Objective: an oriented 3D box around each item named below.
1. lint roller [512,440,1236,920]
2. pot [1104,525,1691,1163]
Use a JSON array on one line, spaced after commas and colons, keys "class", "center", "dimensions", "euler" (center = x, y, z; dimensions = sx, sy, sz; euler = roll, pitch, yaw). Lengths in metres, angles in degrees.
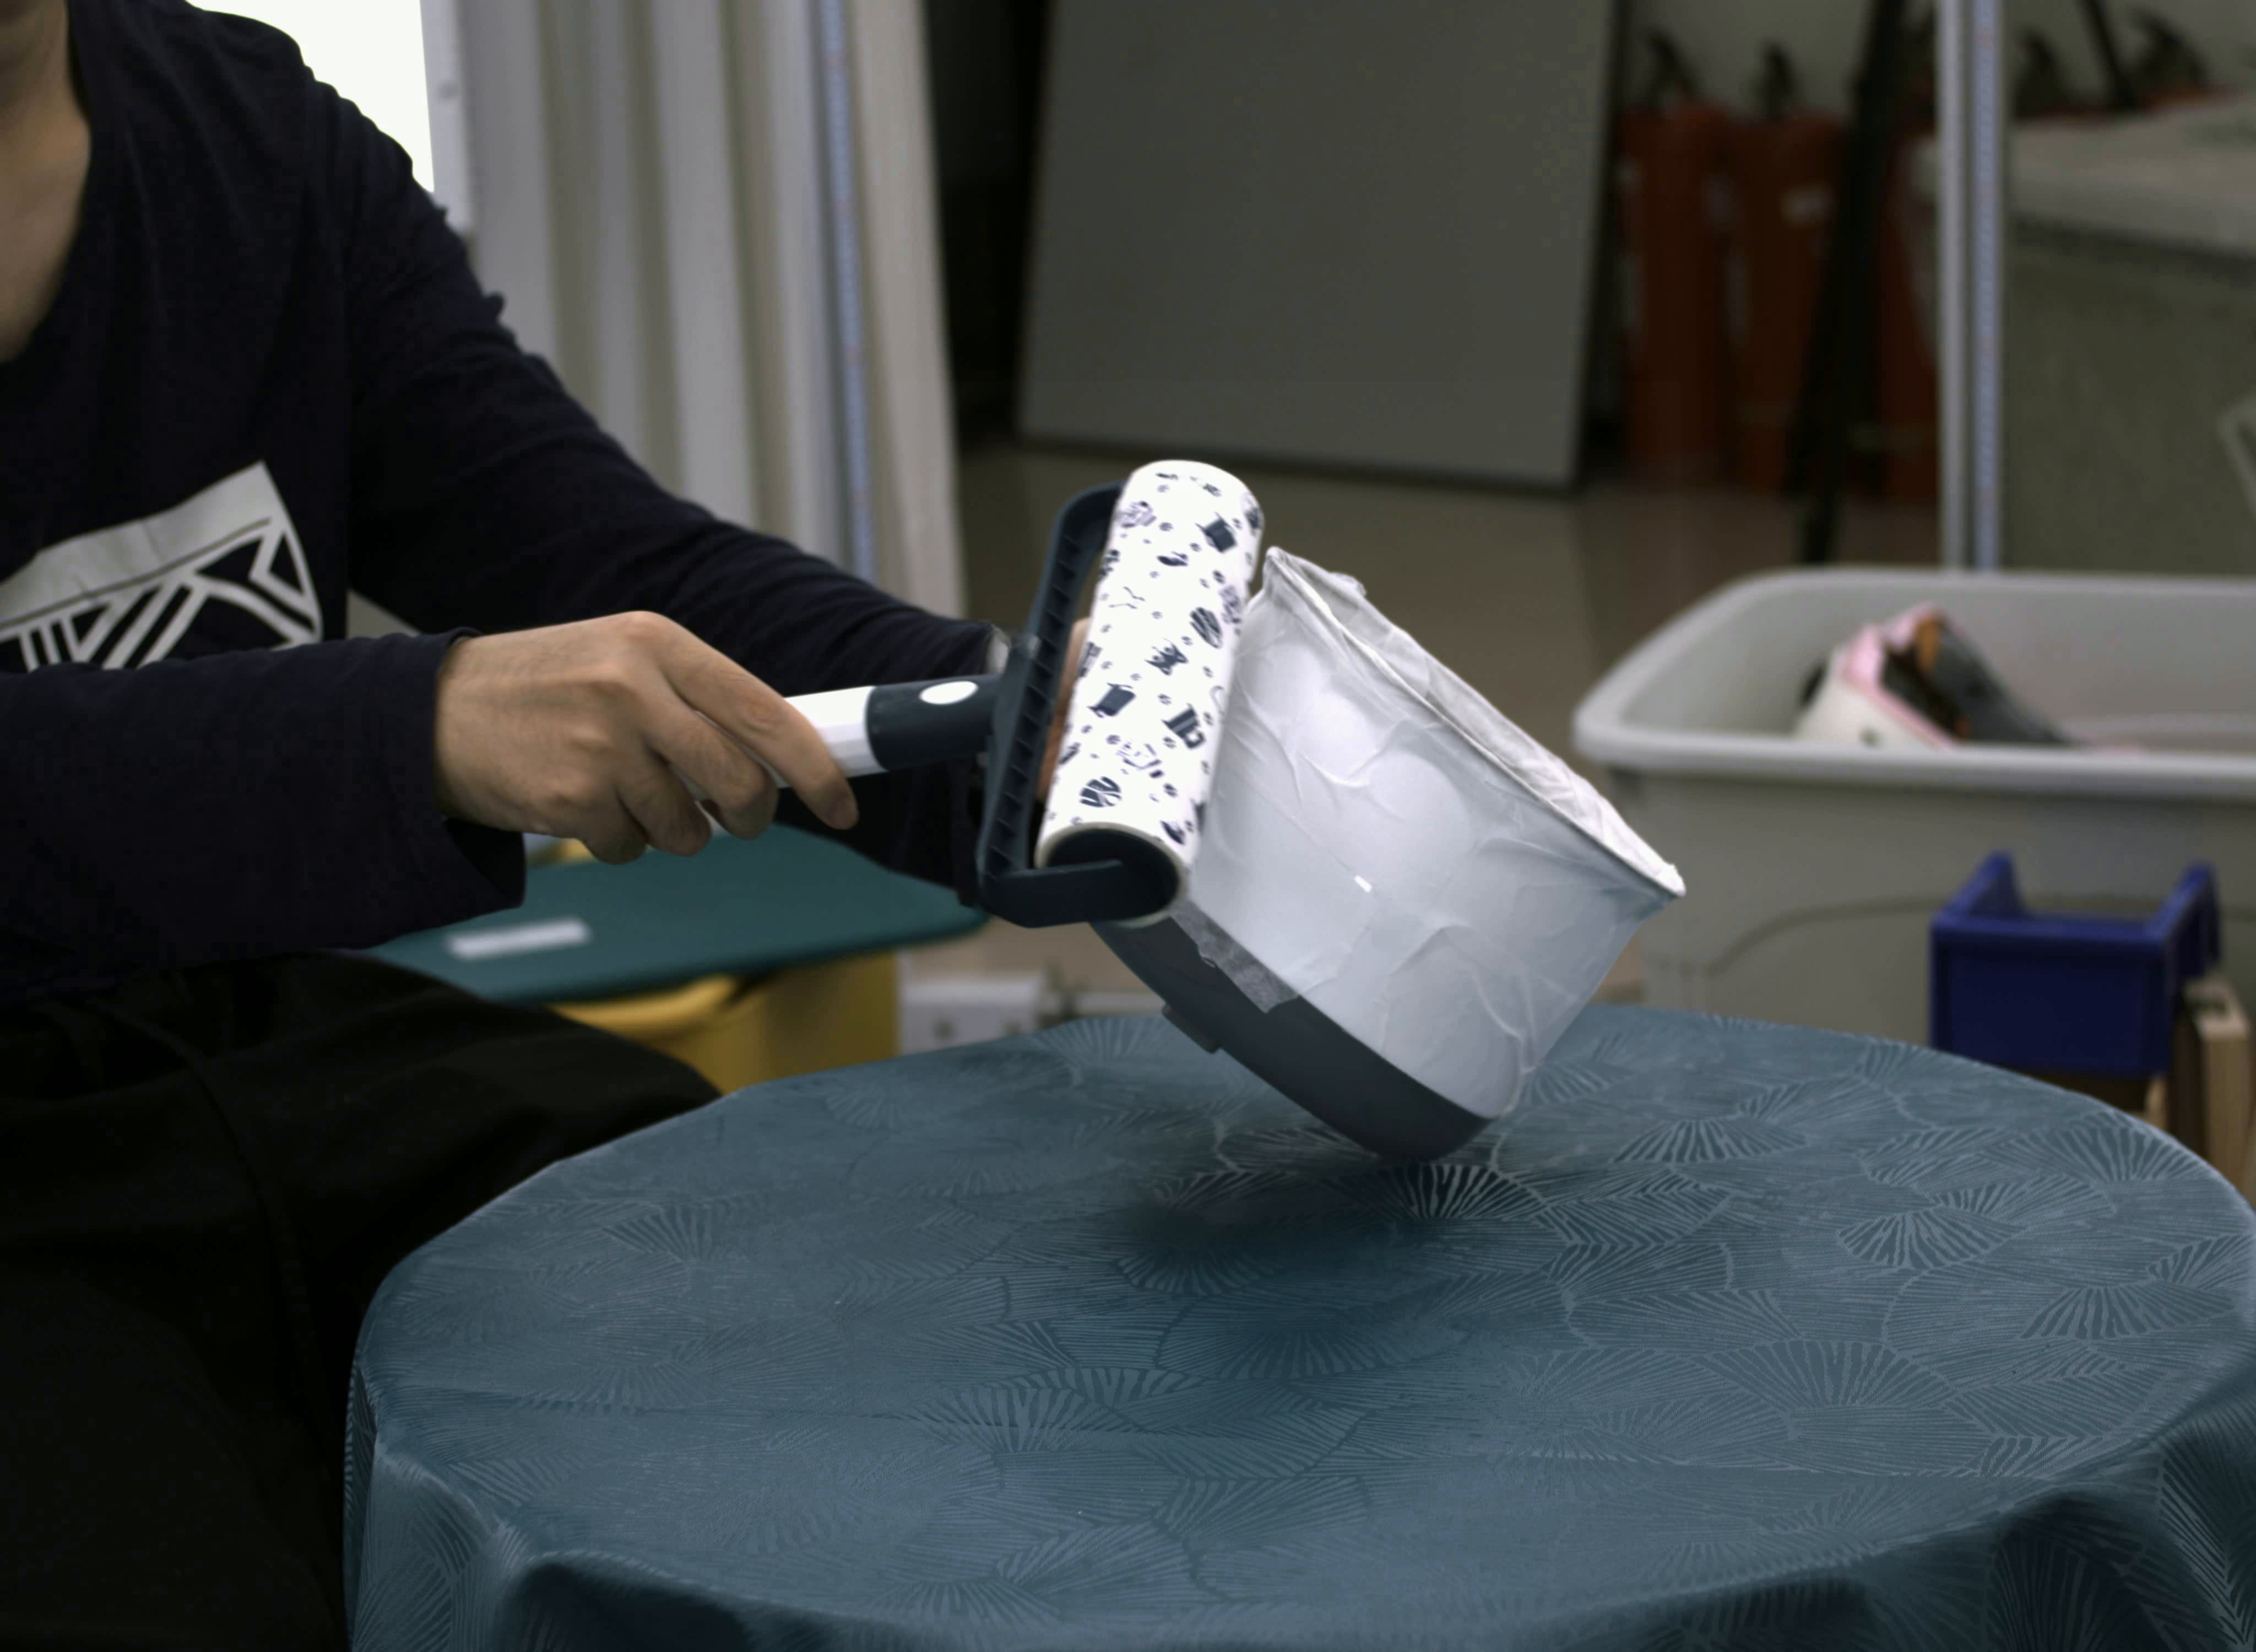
[{"class": "lint roller", "center": [-0.089, -0.030, 1.702], "dimensions": [0.247, 0.050, 0.177], "euler": [-11, 44, 22]}, {"class": "pot", "center": [0.066, -0.003, 1.773], "dimensions": [0.176, 0.137, 0.236], "euler": [37, 10, -37]}]
